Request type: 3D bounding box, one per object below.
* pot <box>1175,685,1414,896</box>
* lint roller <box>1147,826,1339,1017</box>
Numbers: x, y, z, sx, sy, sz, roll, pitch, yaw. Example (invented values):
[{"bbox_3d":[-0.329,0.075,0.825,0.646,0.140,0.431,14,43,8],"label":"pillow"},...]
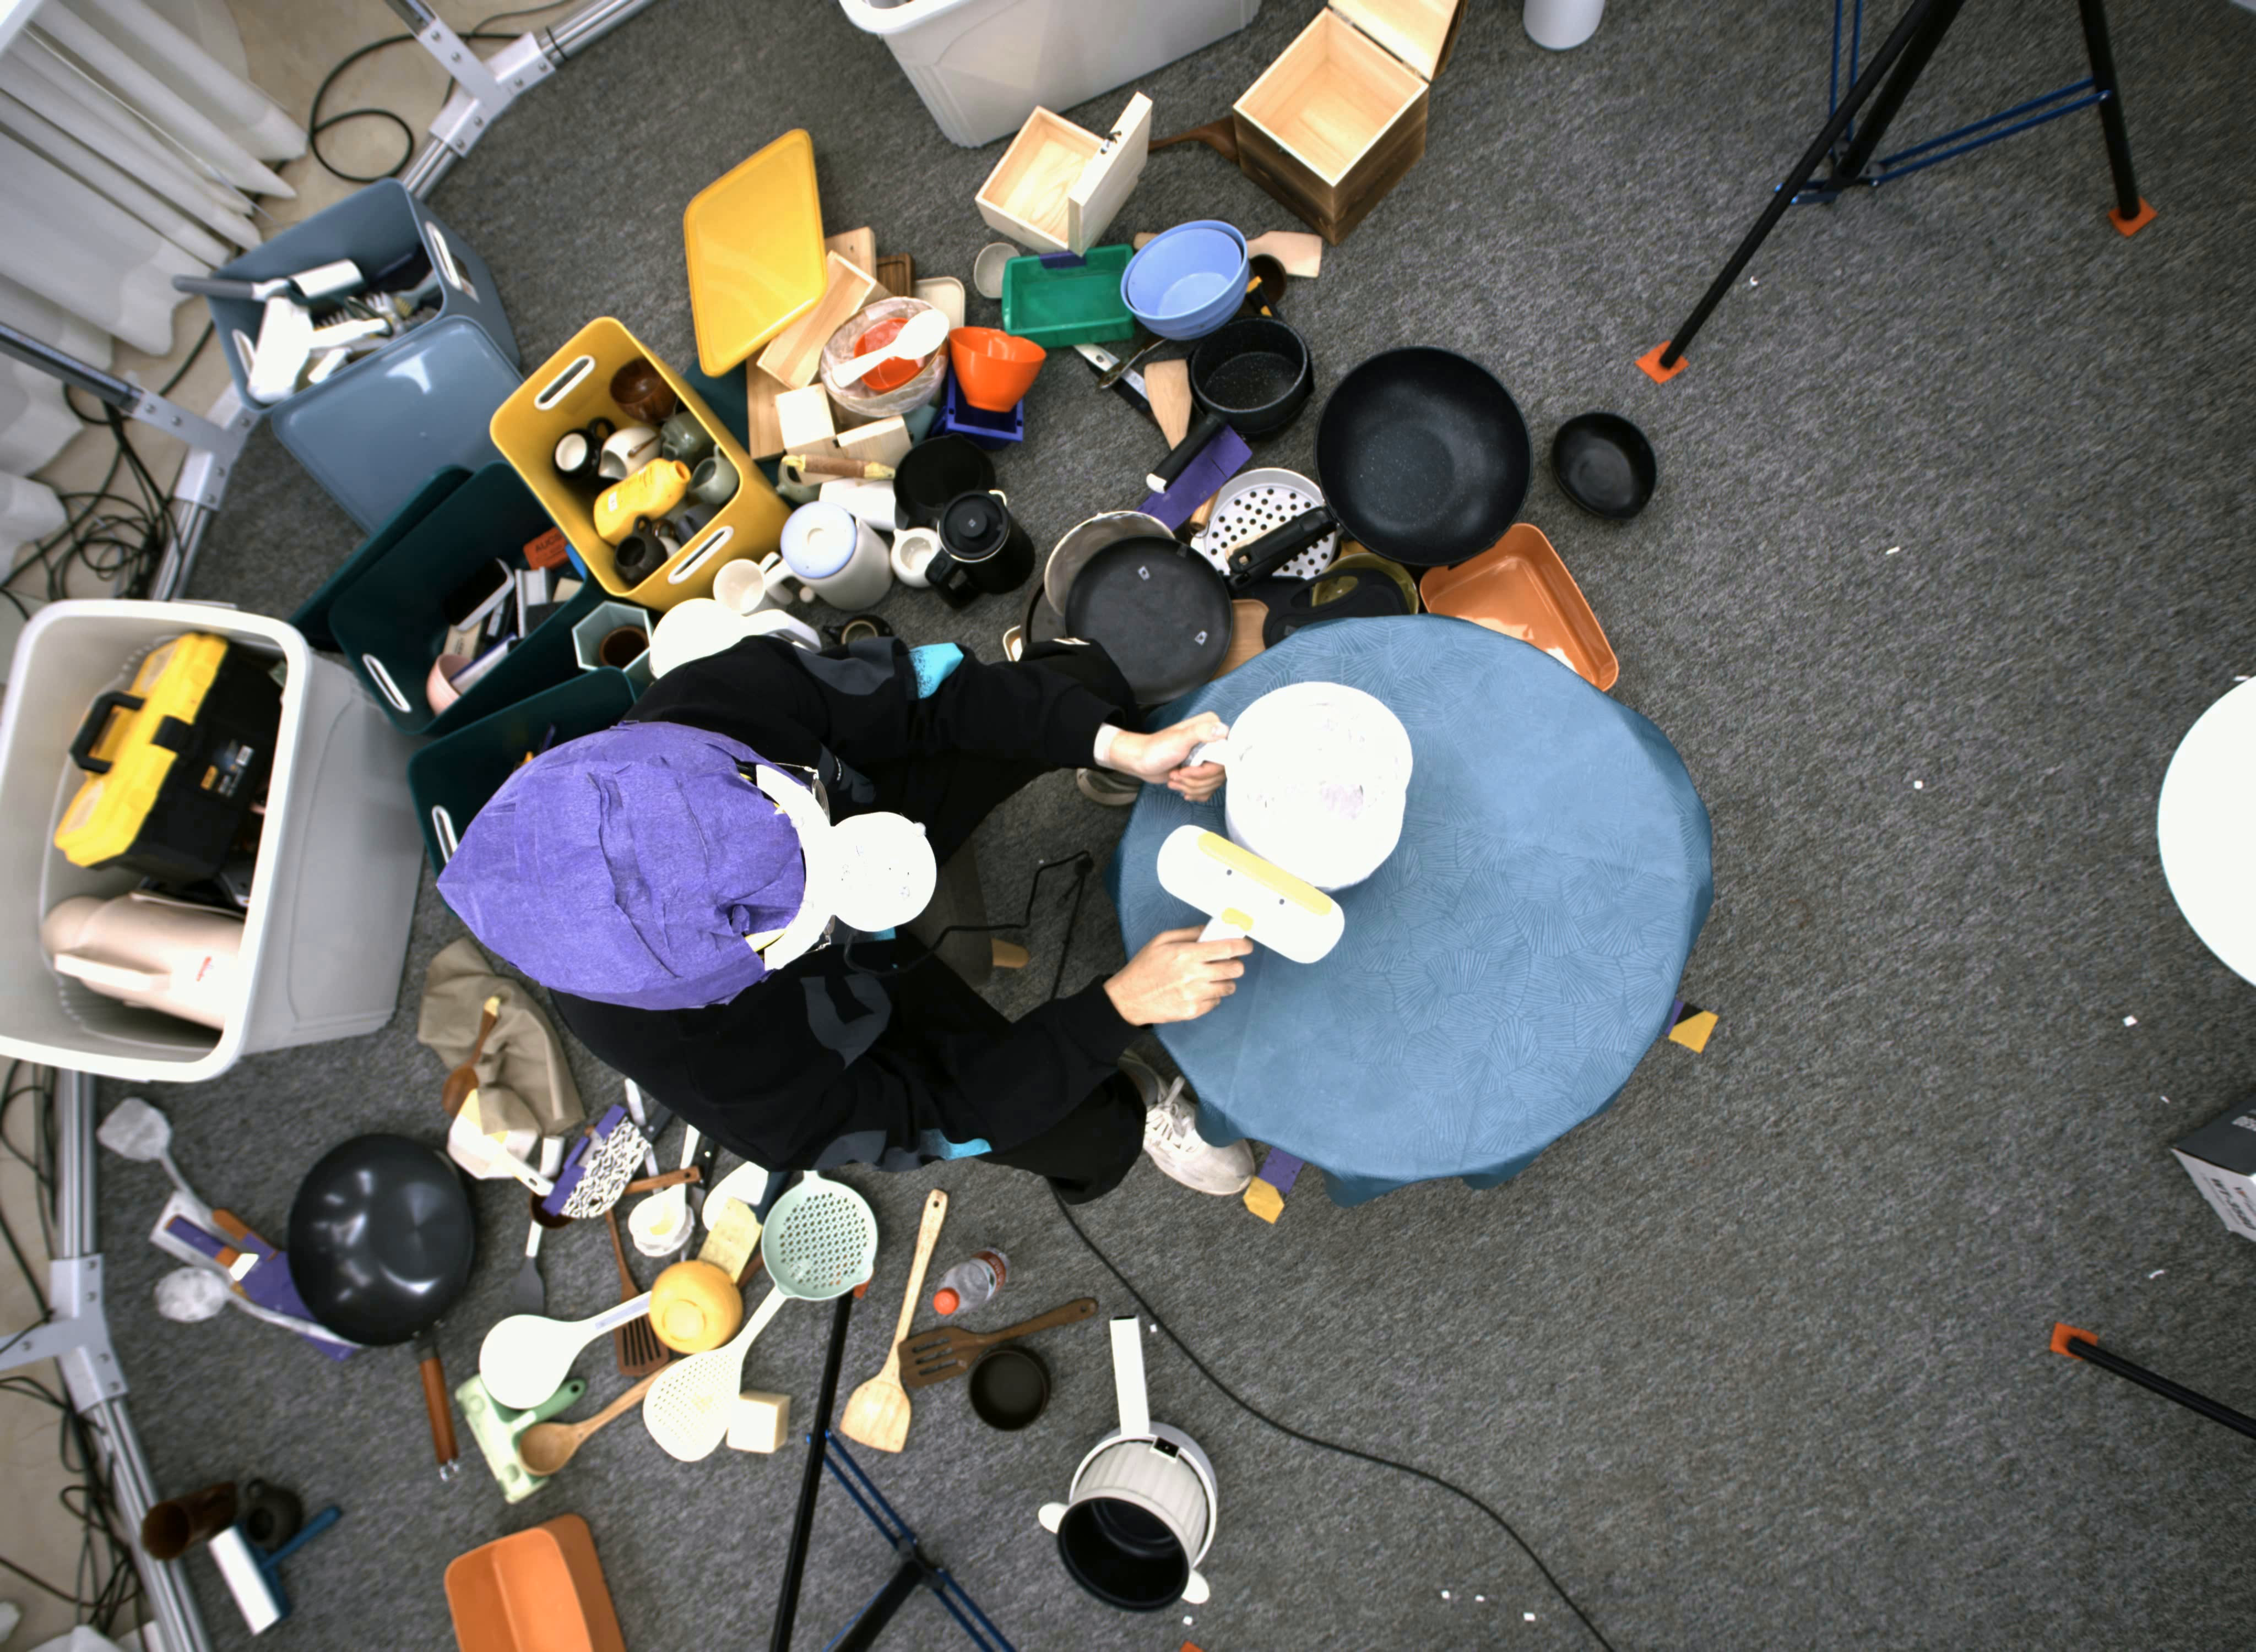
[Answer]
[{"bbox_3d":[0.158,-0.038,1.360,0.234,0.139,0.174,16,61,13],"label":"pot"},{"bbox_3d":[0.090,0.109,1.368,0.193,0.072,0.197,23,131,-4],"label":"lint roller"}]
